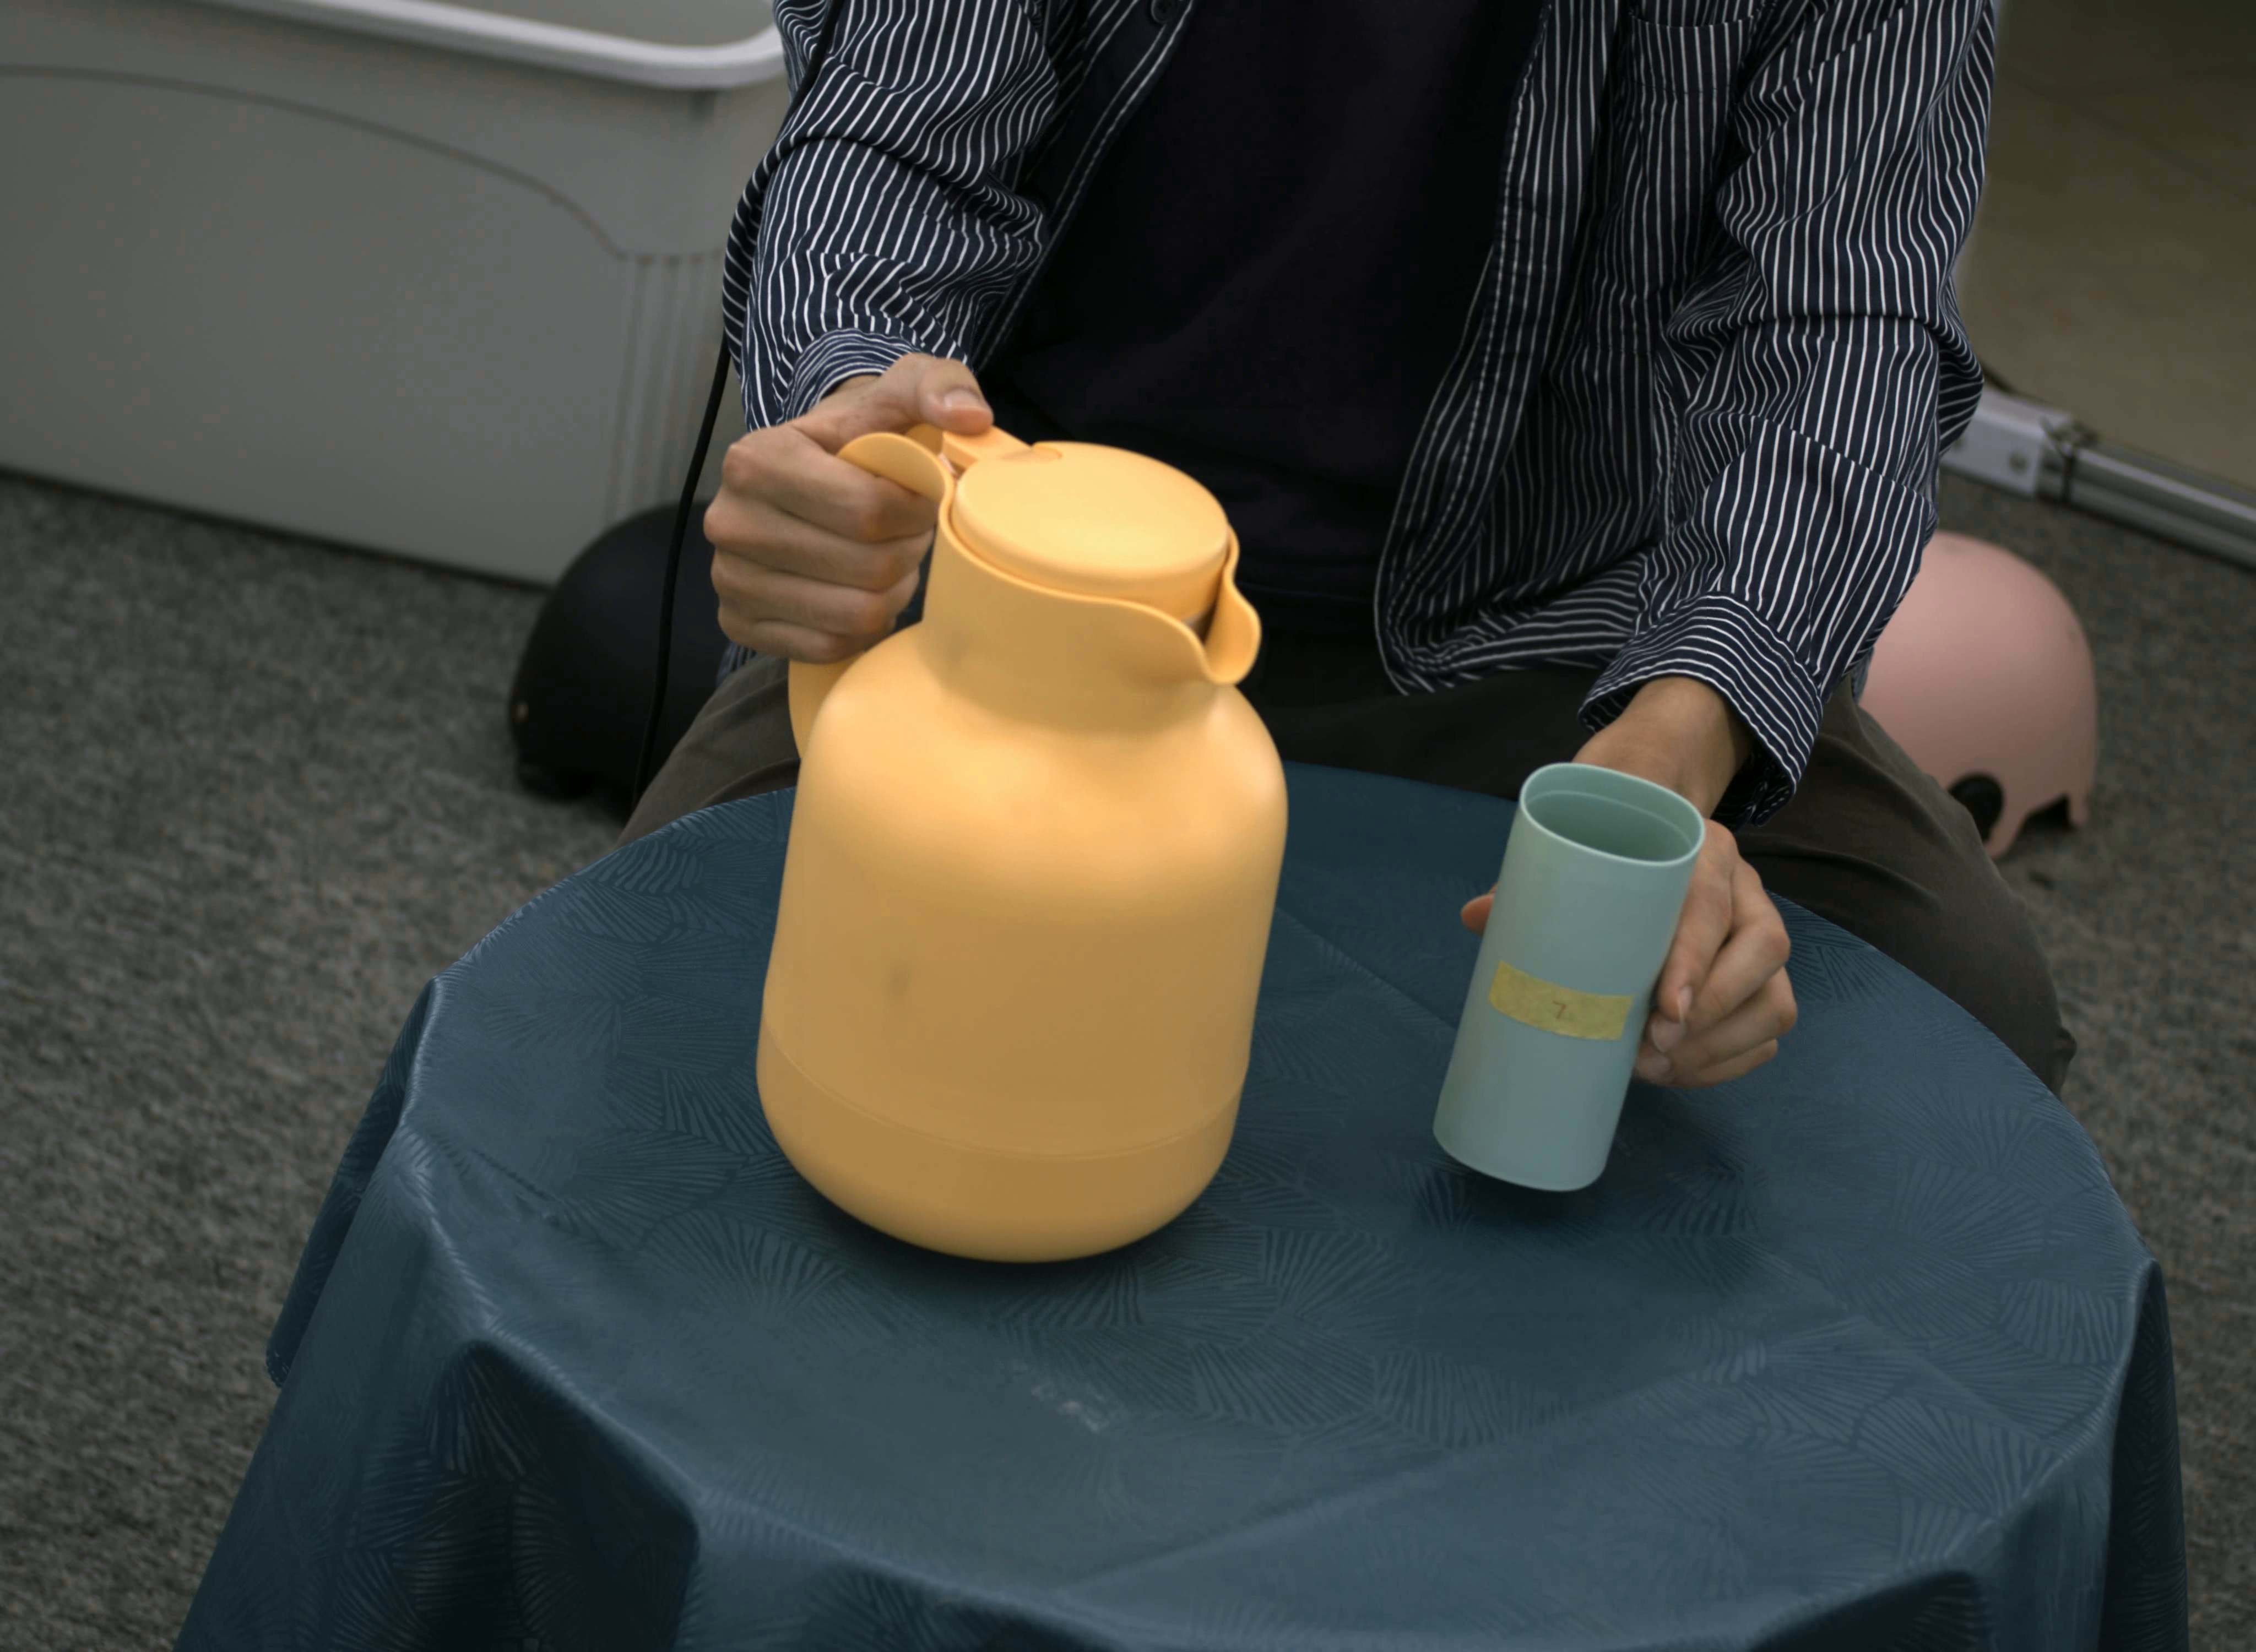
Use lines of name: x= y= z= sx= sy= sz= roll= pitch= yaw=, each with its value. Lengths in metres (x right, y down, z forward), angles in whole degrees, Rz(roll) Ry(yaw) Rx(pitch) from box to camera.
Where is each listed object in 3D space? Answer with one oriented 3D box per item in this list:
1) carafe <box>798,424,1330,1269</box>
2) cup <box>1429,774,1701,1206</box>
carafe: x=-0.028 y=-0.004 z=1.748 sx=0.162 sy=0.259 sz=0.204 roll=-17 pitch=39 yaw=-40
cup: x=0.146 y=0.055 z=1.789 sx=0.066 sy=0.132 sz=0.067 roll=10 pitch=27 yaw=-6
